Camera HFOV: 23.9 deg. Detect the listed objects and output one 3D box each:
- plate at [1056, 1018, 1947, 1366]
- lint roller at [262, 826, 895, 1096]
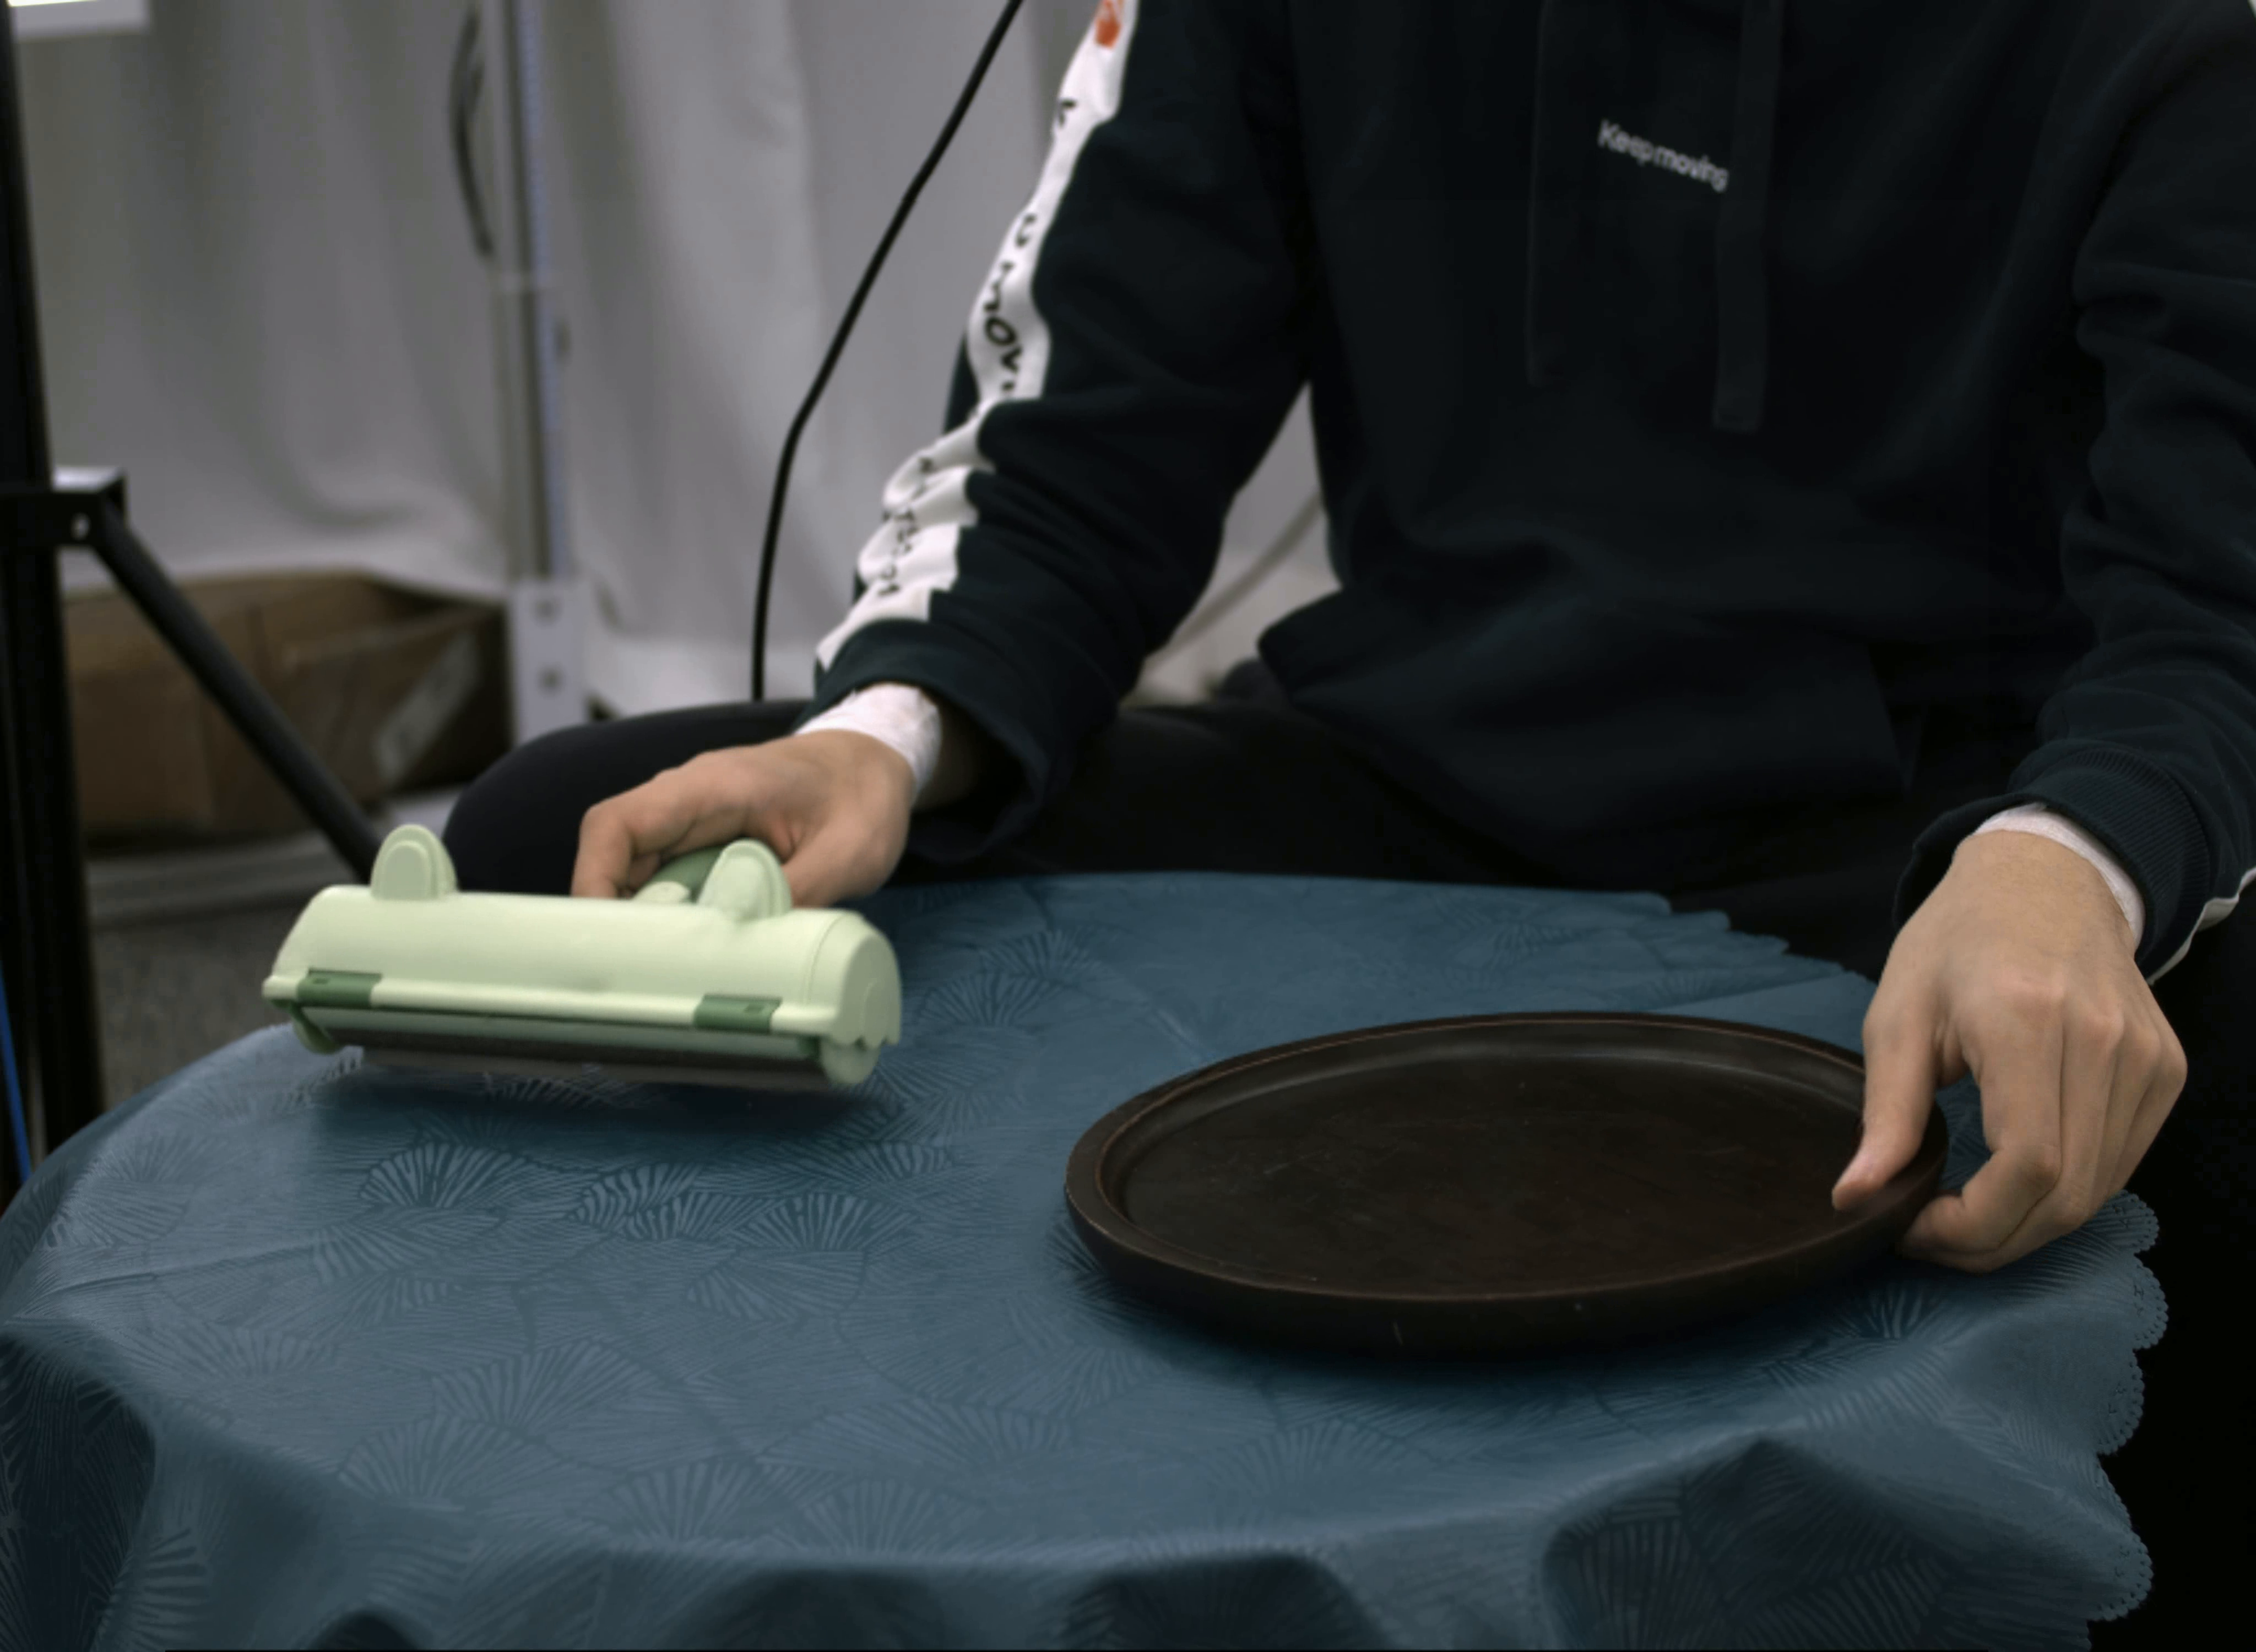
[{"bbox_3d":[0.106,0.102,1.507,0.253,0.029,0.256,-6,14,0],"label":"plate"},{"bbox_3d":[-0.153,0.021,1.708,0.201,0.082,0.182,3,27,23],"label":"lint roller"}]
